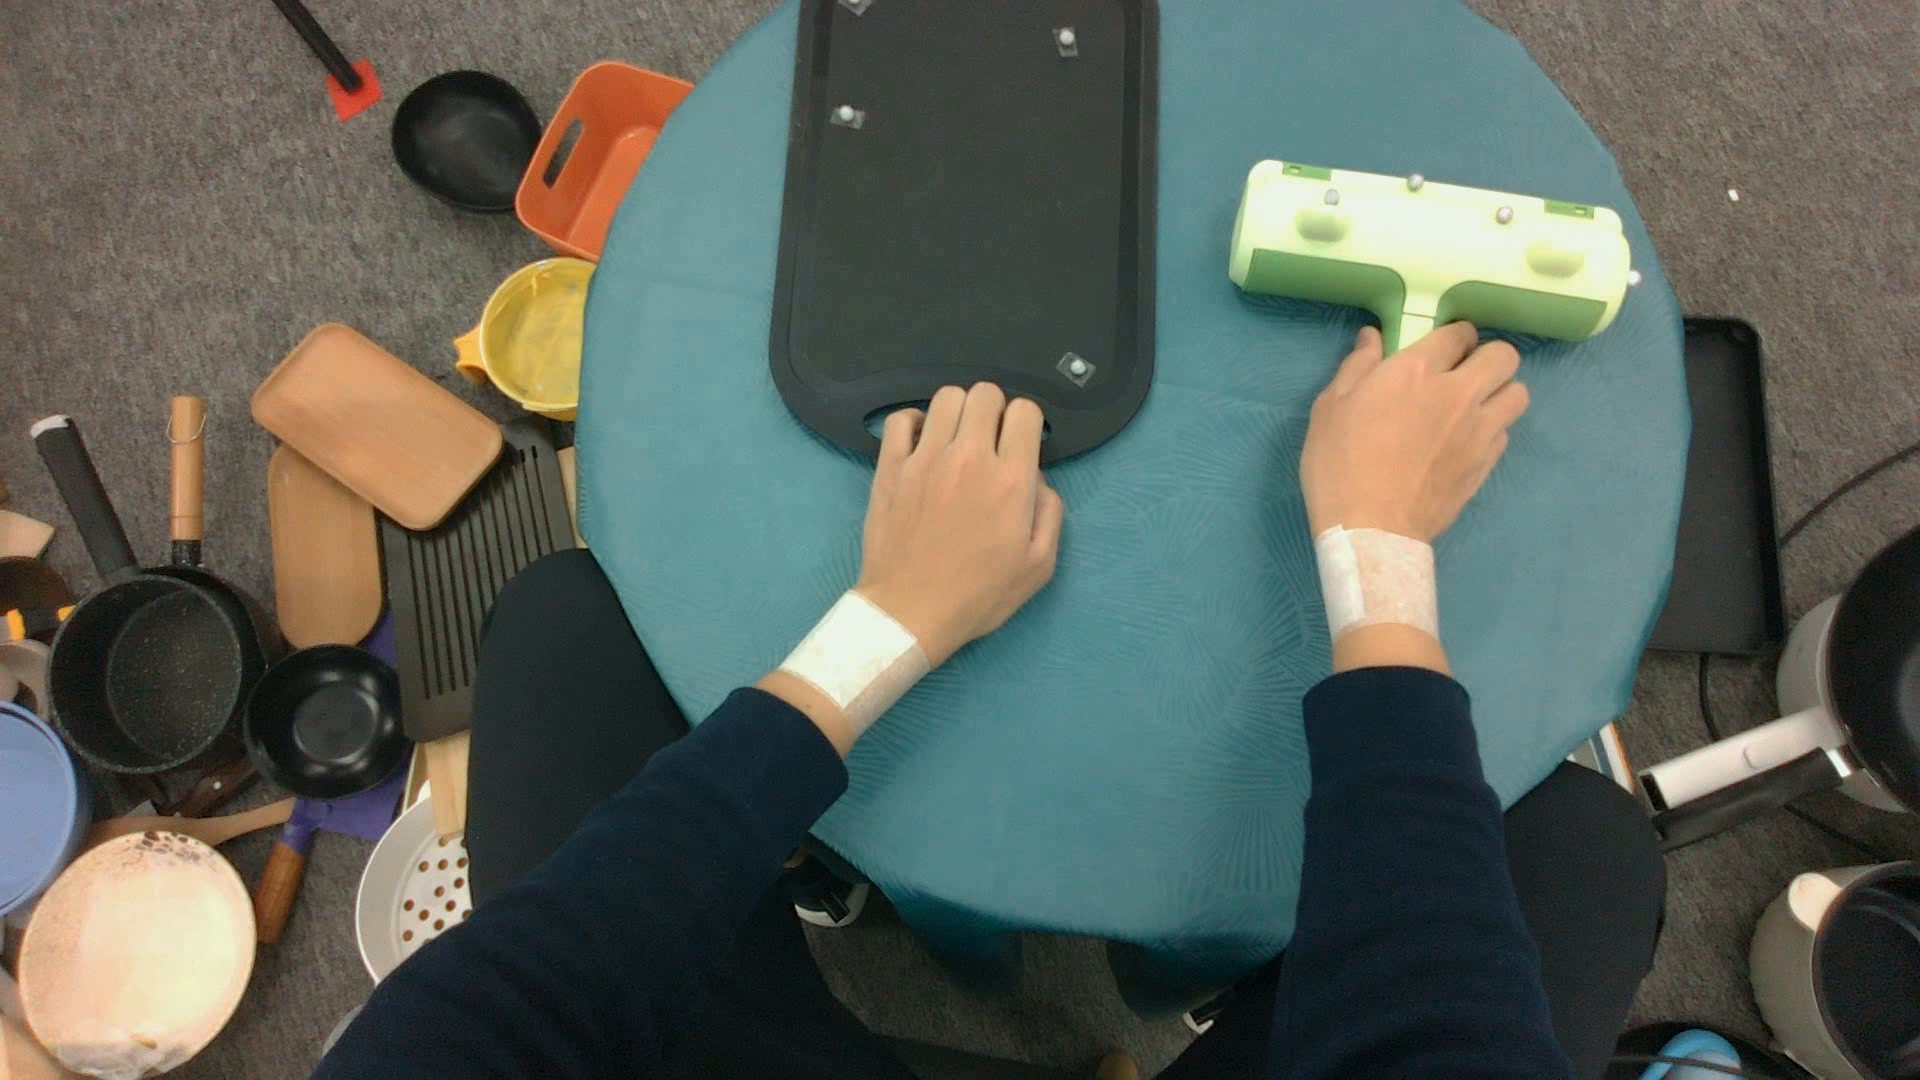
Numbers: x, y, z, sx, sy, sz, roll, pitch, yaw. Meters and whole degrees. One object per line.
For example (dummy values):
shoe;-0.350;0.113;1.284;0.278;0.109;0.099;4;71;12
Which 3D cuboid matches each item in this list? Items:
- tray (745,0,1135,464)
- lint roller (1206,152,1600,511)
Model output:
tray;-0.008;-0.197;0.769;0.211;0.010;0.326;2;74;2
lint roller;0.223;-0.111;0.705;0.198;0.082;0.184;8;70;4
